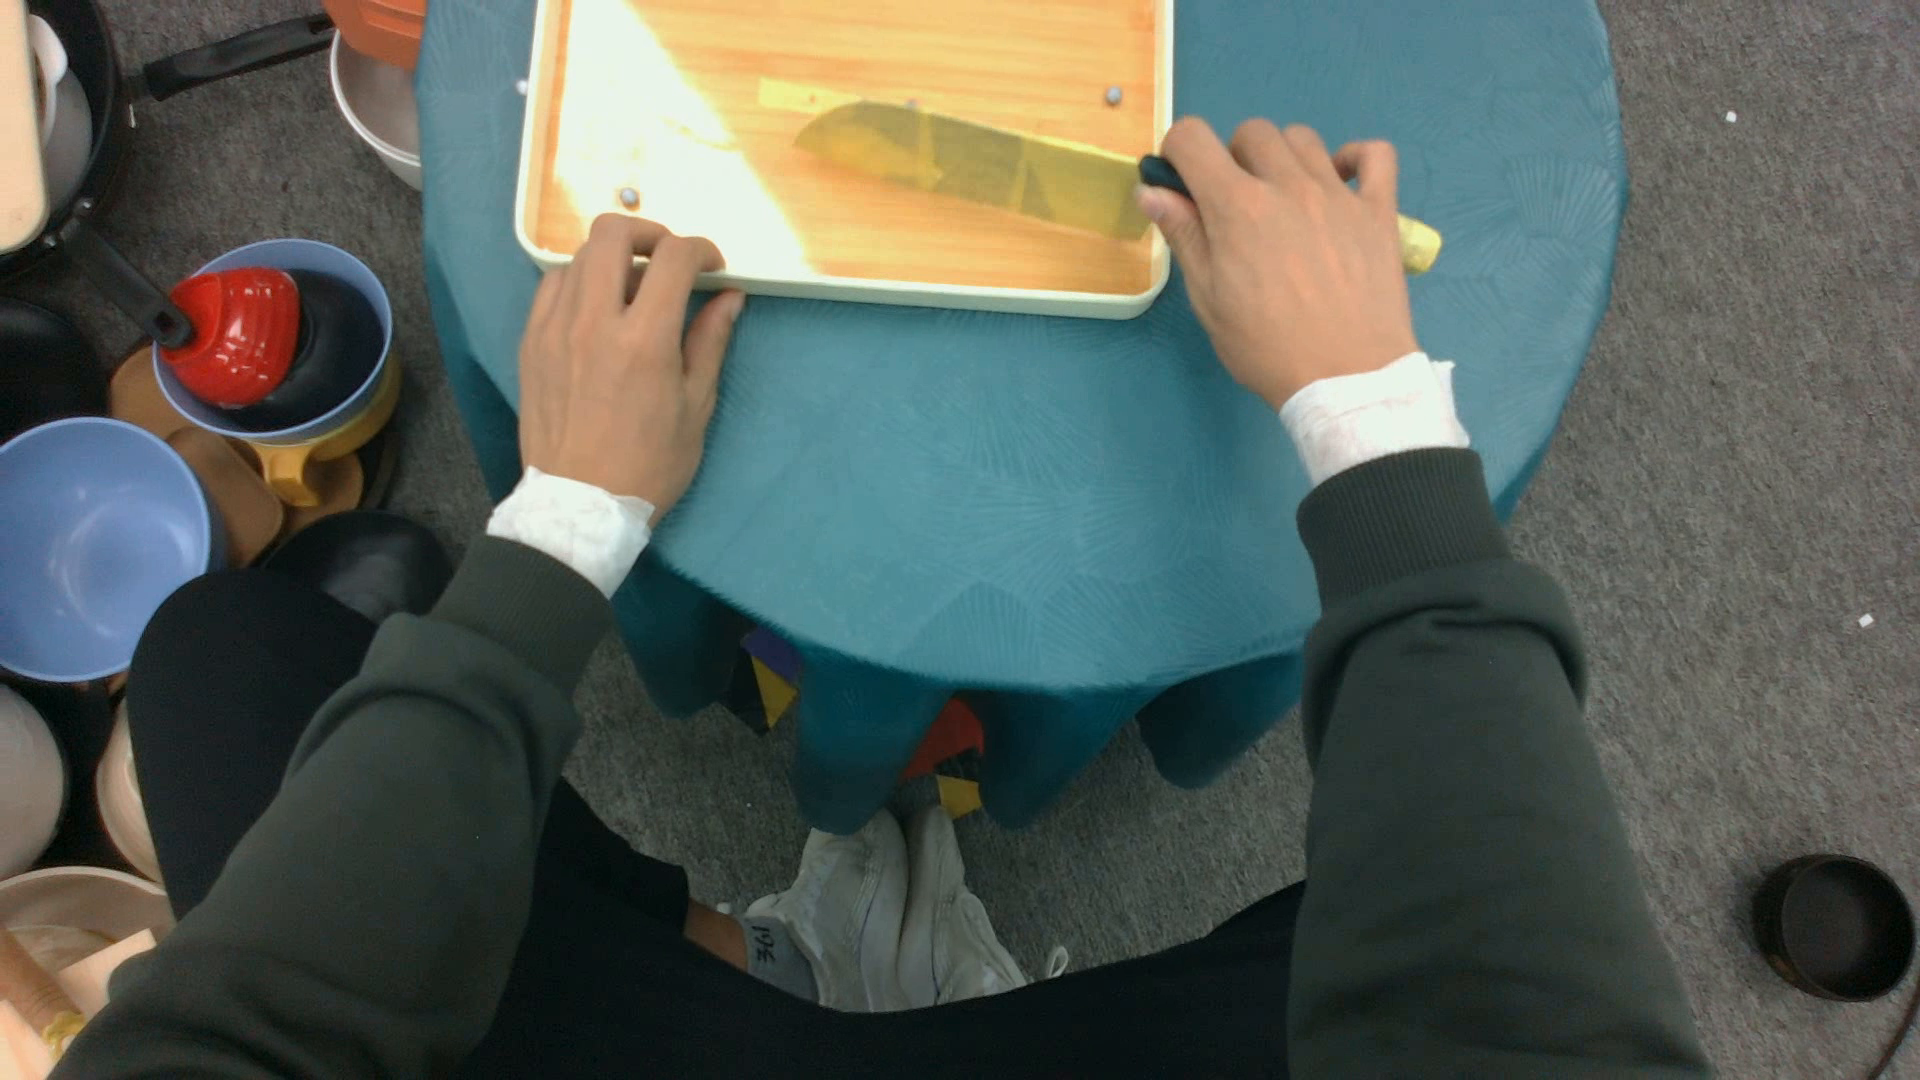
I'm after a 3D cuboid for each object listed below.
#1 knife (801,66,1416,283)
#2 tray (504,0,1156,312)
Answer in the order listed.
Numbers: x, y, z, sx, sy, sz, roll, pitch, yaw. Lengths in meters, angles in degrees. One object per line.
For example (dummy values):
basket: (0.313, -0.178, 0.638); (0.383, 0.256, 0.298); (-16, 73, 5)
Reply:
knife: (0.063, -0.165, 0.628); (0.289, 0.081, 0.027); (18, 80, 4)
tray: (-0.056, -0.210, 0.662); (0.300, 0.027, 0.192); (3, 78, -4)
